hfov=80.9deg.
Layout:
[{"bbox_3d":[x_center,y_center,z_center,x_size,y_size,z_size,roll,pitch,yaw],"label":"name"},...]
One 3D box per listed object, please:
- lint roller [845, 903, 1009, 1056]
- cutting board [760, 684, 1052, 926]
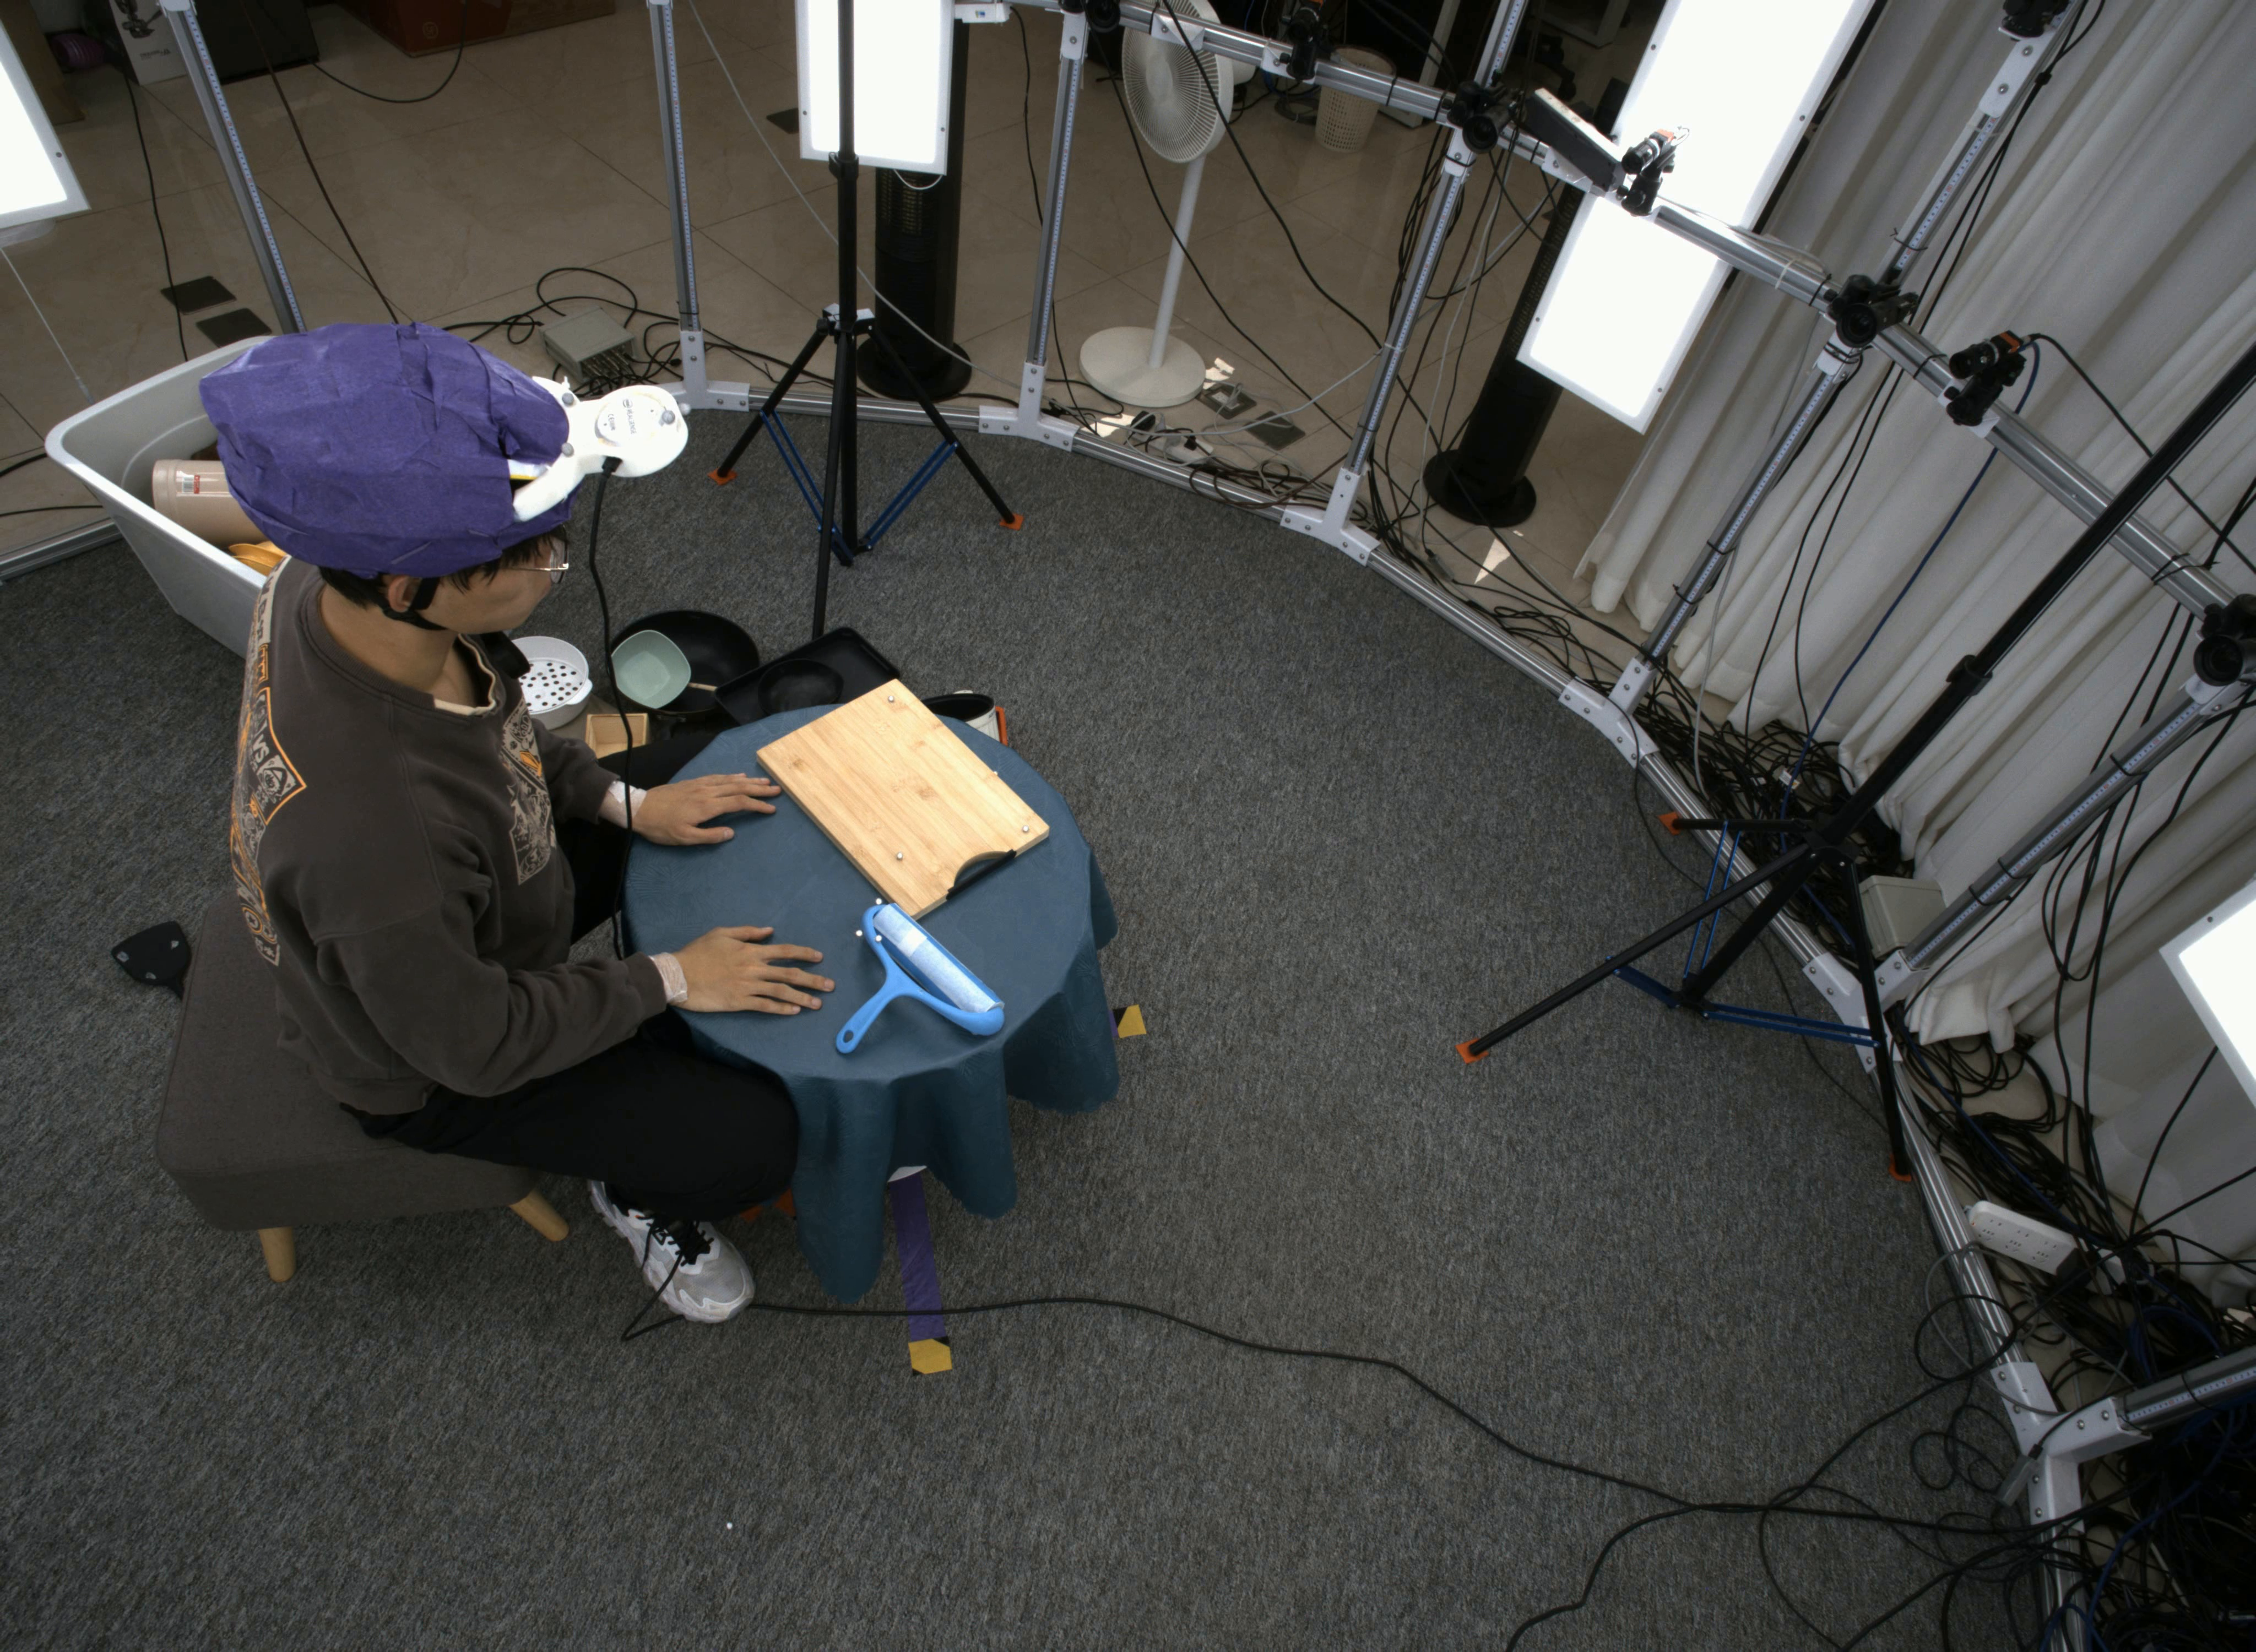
[{"bbox_3d":[-0.274,0.204,1.588,0.224,0.069,0.180,37,54,13],"label":"lint roller"},{"bbox_3d":[-0.305,-0.039,1.786,0.341,0.024,0.251,43,57,18],"label":"cutting board"}]
